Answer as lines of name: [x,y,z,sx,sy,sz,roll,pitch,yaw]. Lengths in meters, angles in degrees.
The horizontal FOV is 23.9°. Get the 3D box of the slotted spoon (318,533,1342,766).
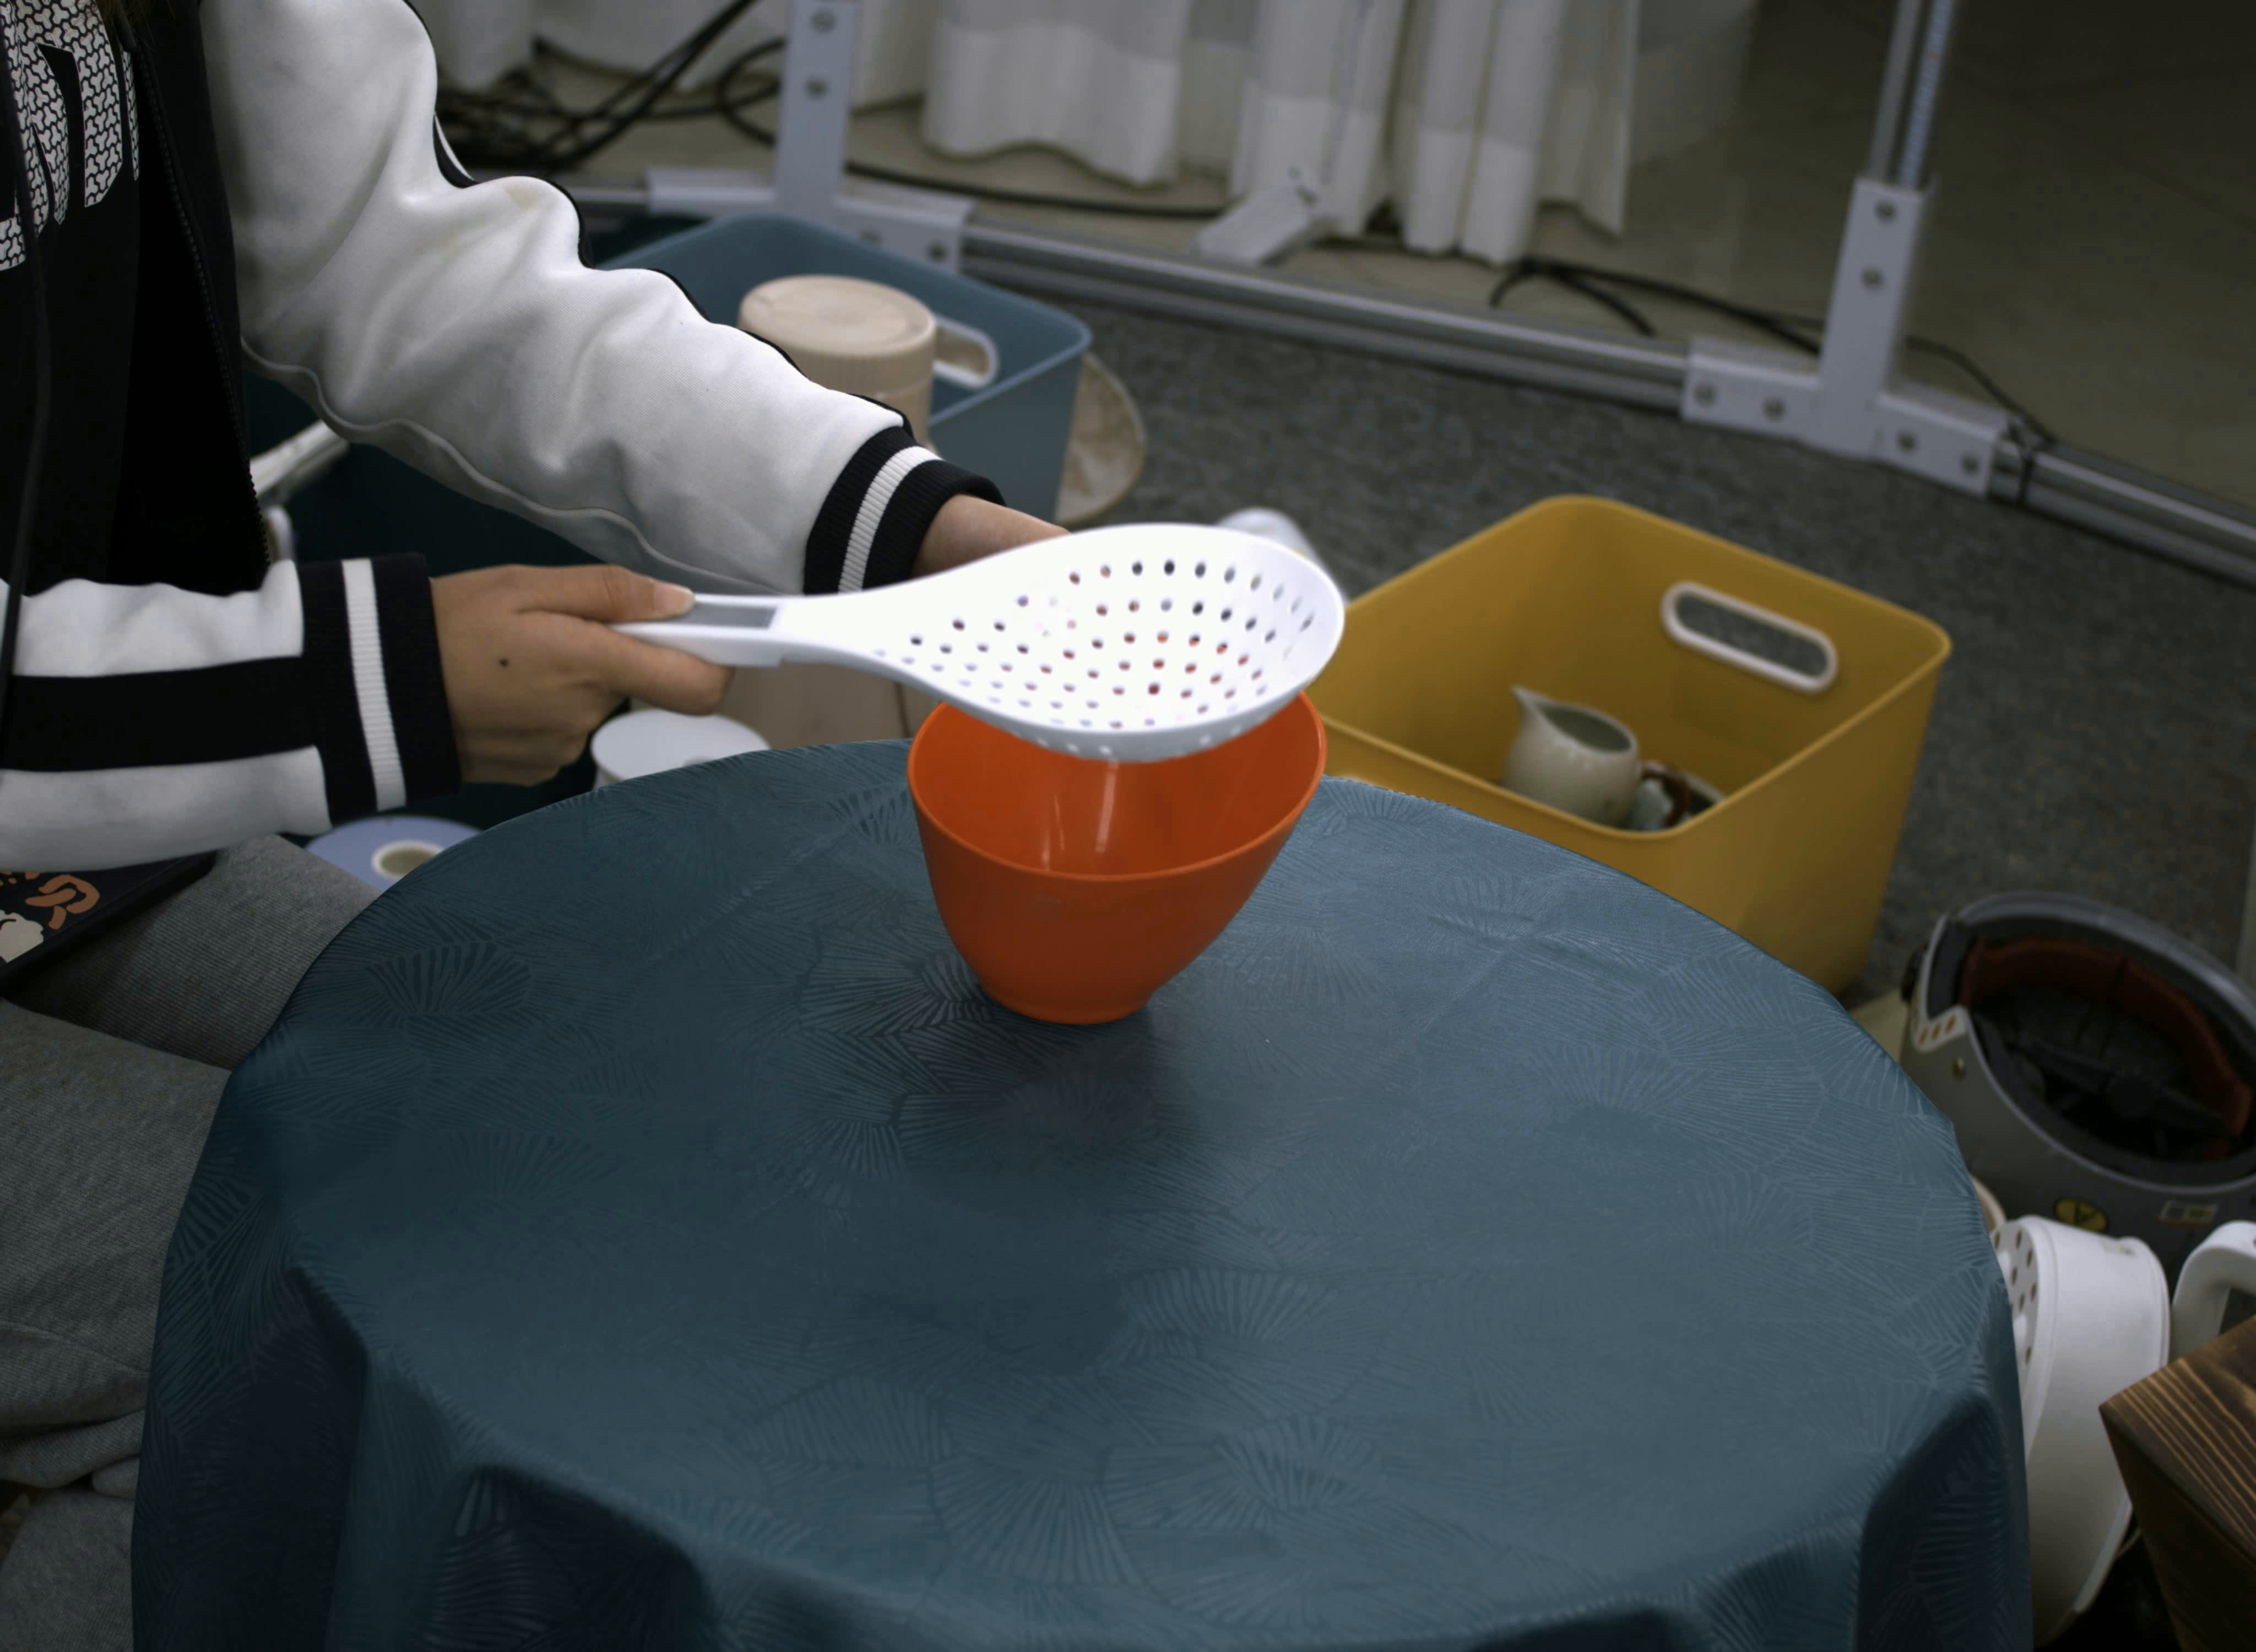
slotted spoon: [-0.103,-0.064,1.780,0.349,0.045,0.136,7,32,9]

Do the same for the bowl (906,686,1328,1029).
bowl: [-0.007,0.010,1.898,0.147,0.104,0.149,4,33,-3]
